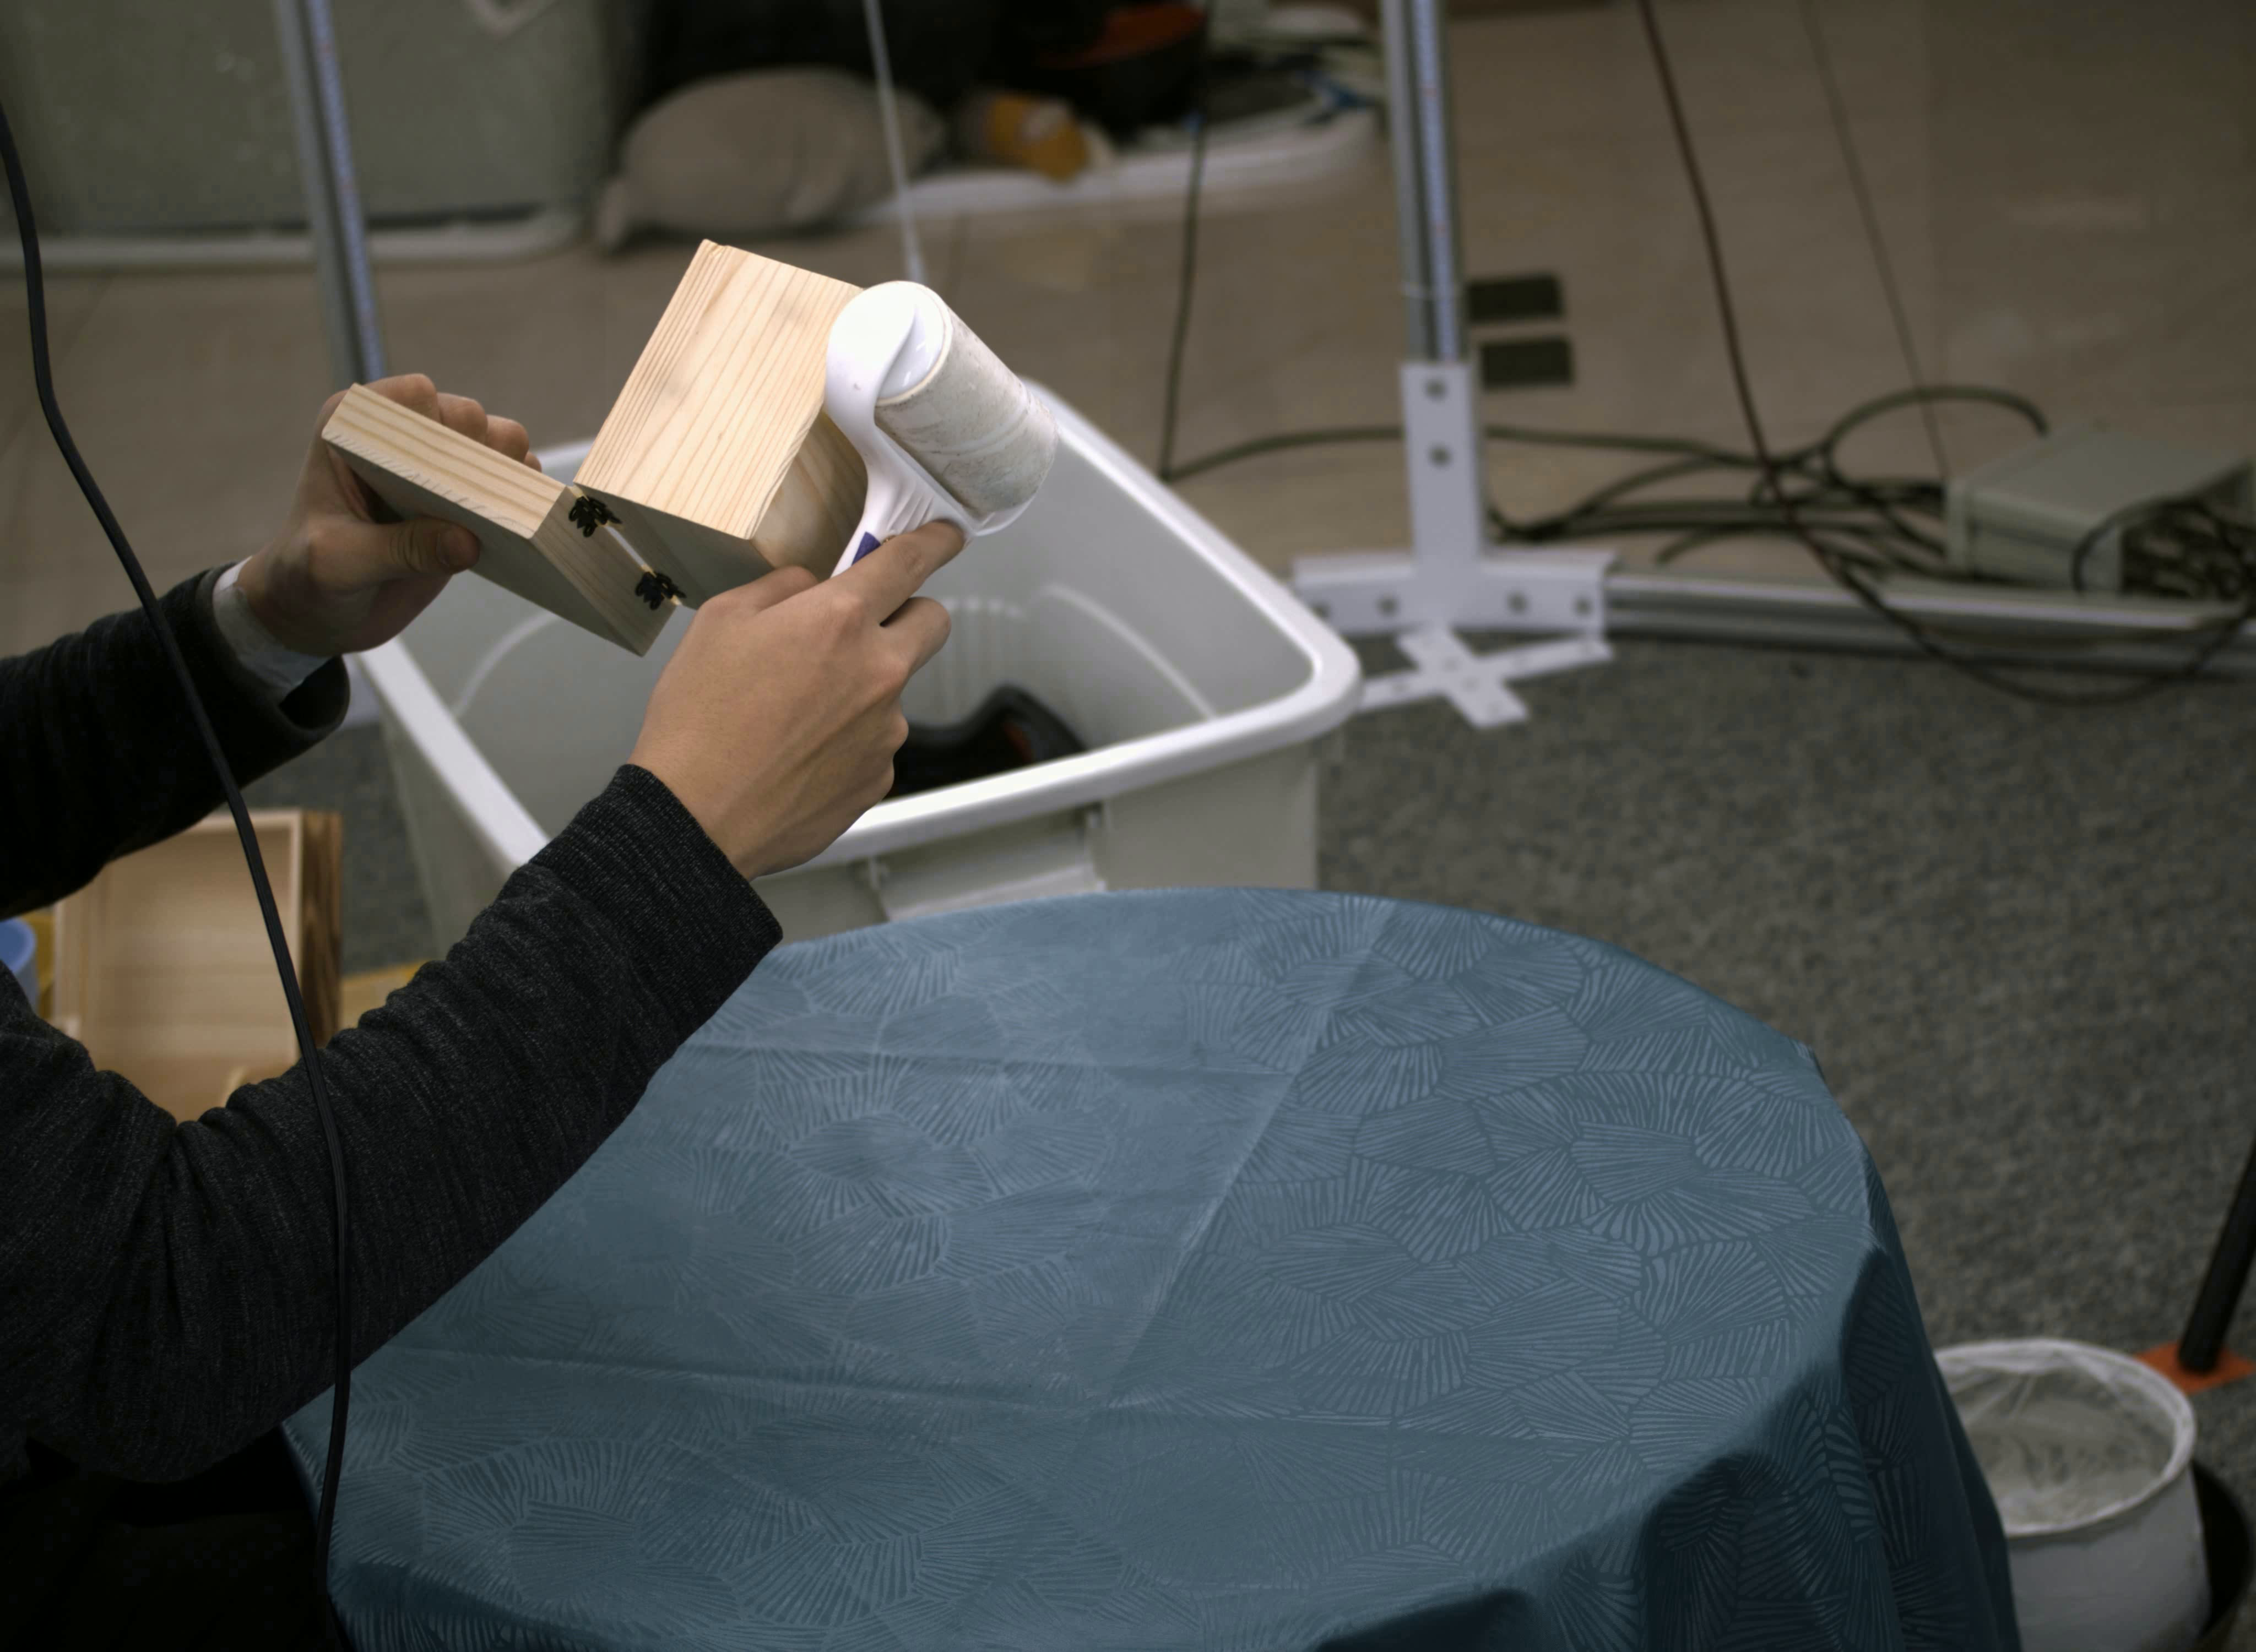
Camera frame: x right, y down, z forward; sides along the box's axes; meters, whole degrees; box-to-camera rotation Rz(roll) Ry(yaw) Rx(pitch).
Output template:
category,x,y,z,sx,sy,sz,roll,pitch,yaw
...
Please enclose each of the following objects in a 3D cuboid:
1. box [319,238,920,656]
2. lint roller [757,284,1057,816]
category,x,y,z,sx,sy,sz,roll,pitch,yaw
box,-0.170,-0.141,2.020,0.183,0.104,0.133,20,75,27
lint roller,-0.083,-0.087,1.947,0.050,0.134,0.179,10,75,24
